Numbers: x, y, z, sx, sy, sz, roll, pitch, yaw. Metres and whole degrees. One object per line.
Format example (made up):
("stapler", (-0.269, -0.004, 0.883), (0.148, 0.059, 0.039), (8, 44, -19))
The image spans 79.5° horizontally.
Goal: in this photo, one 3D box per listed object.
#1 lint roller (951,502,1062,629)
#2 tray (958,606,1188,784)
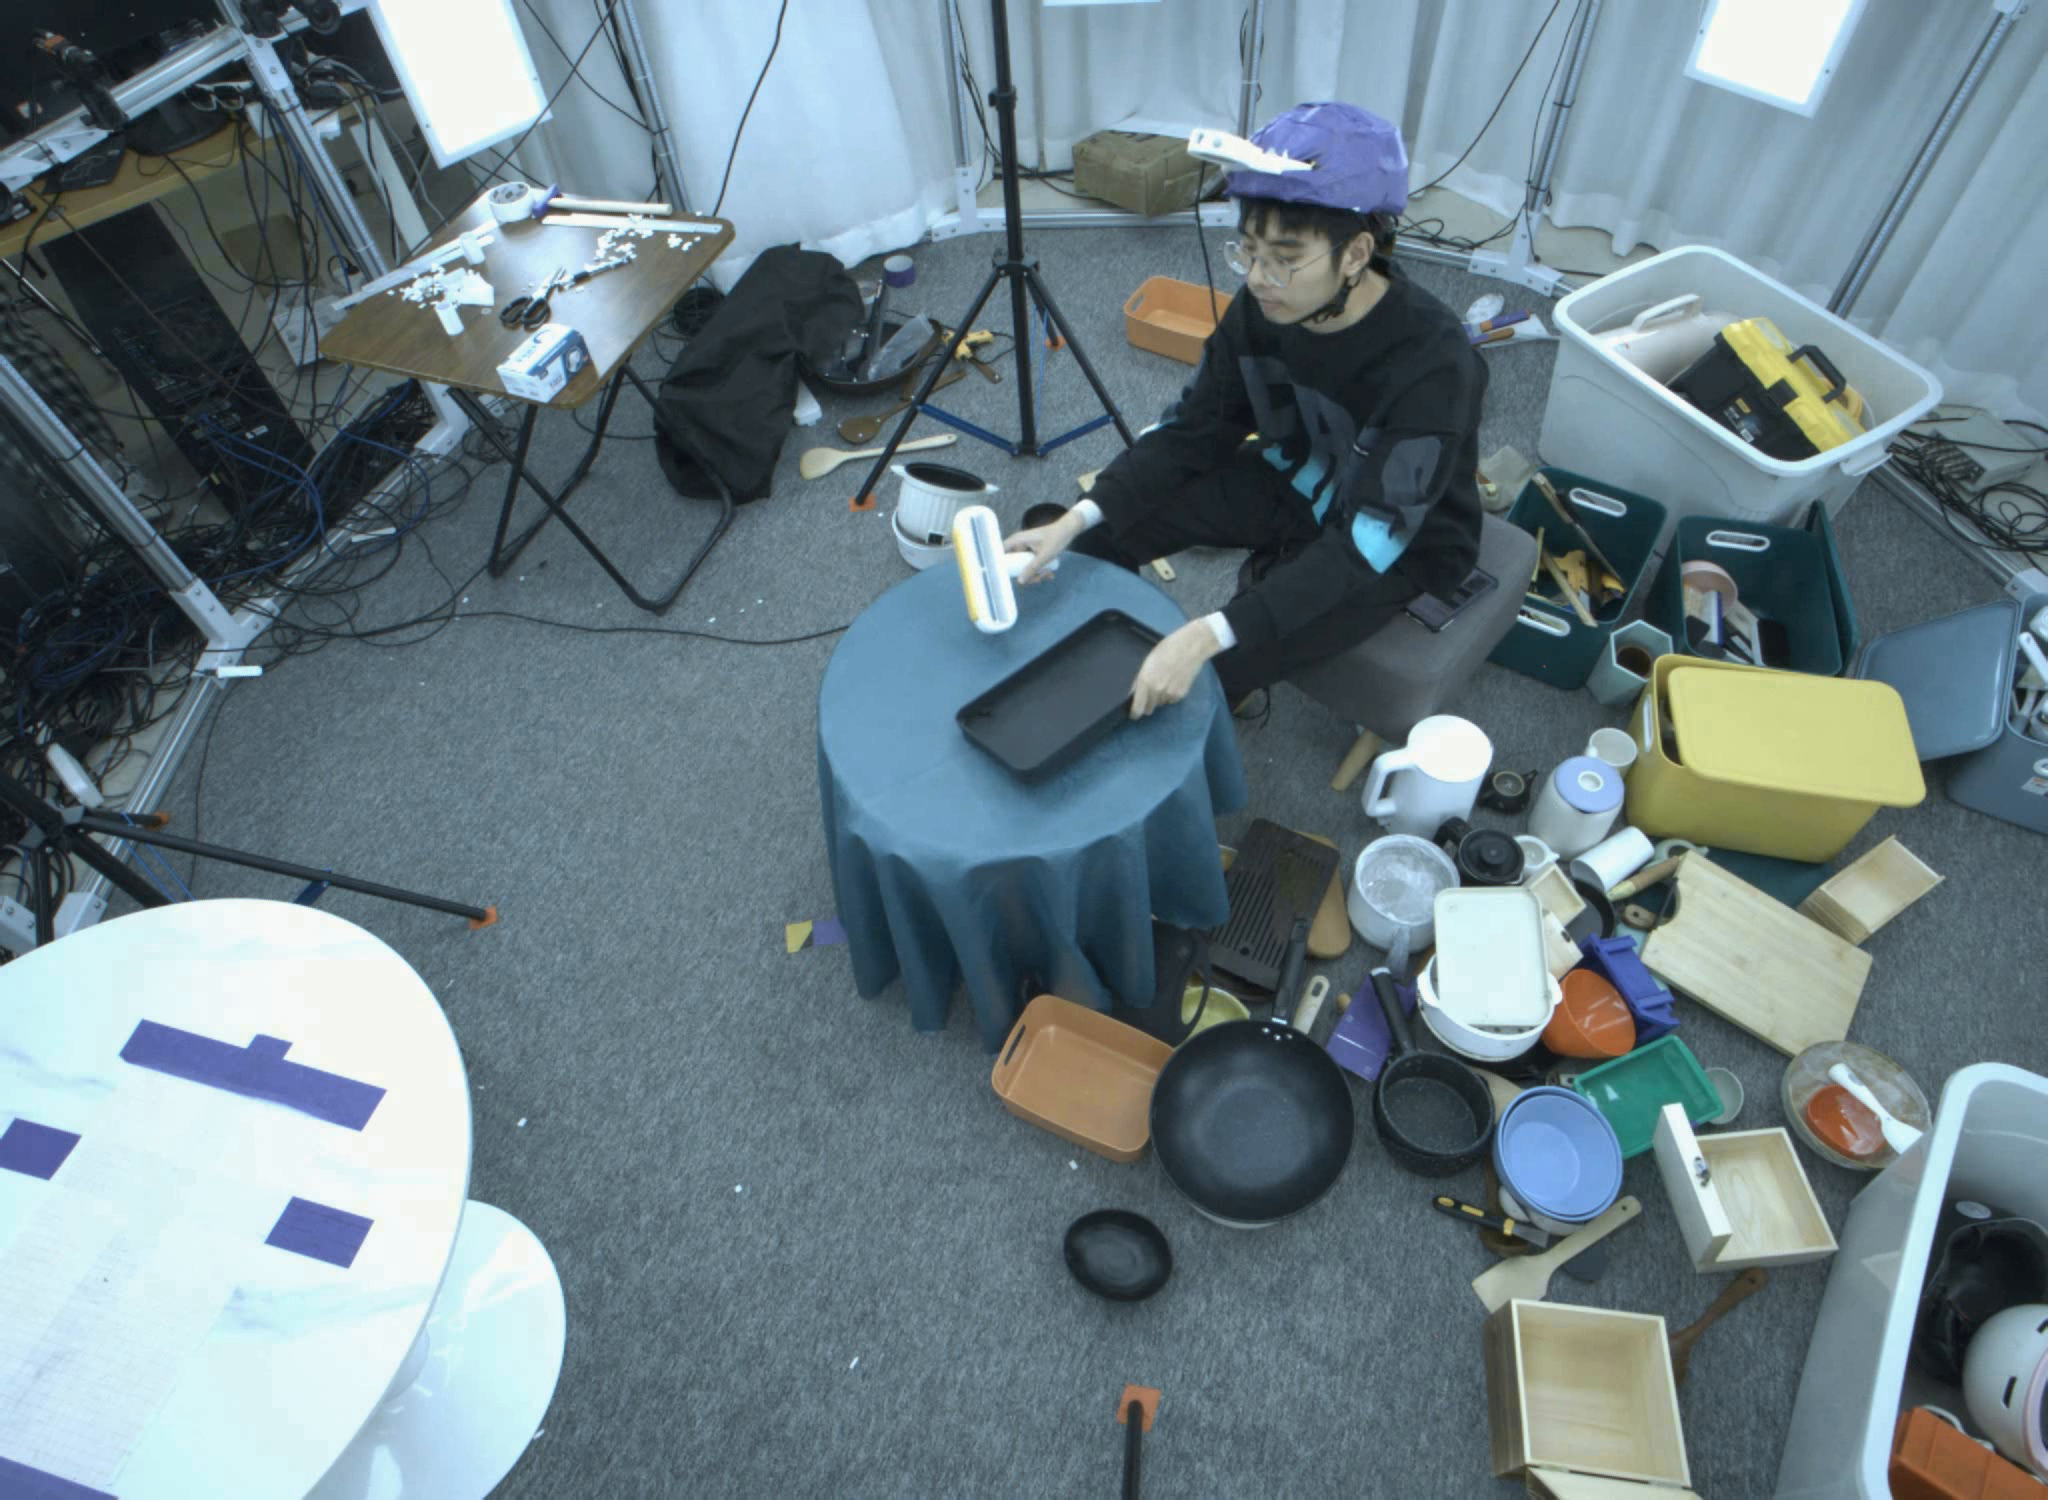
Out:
("lint roller", (-0.017, -0.287, 1.890), (0.196, 0.073, 0.193), (-11, 90, -30))
("tray", (0.074, -0.086, 1.794), (0.320, 0.037, 0.180), (-37, 47, -20))
